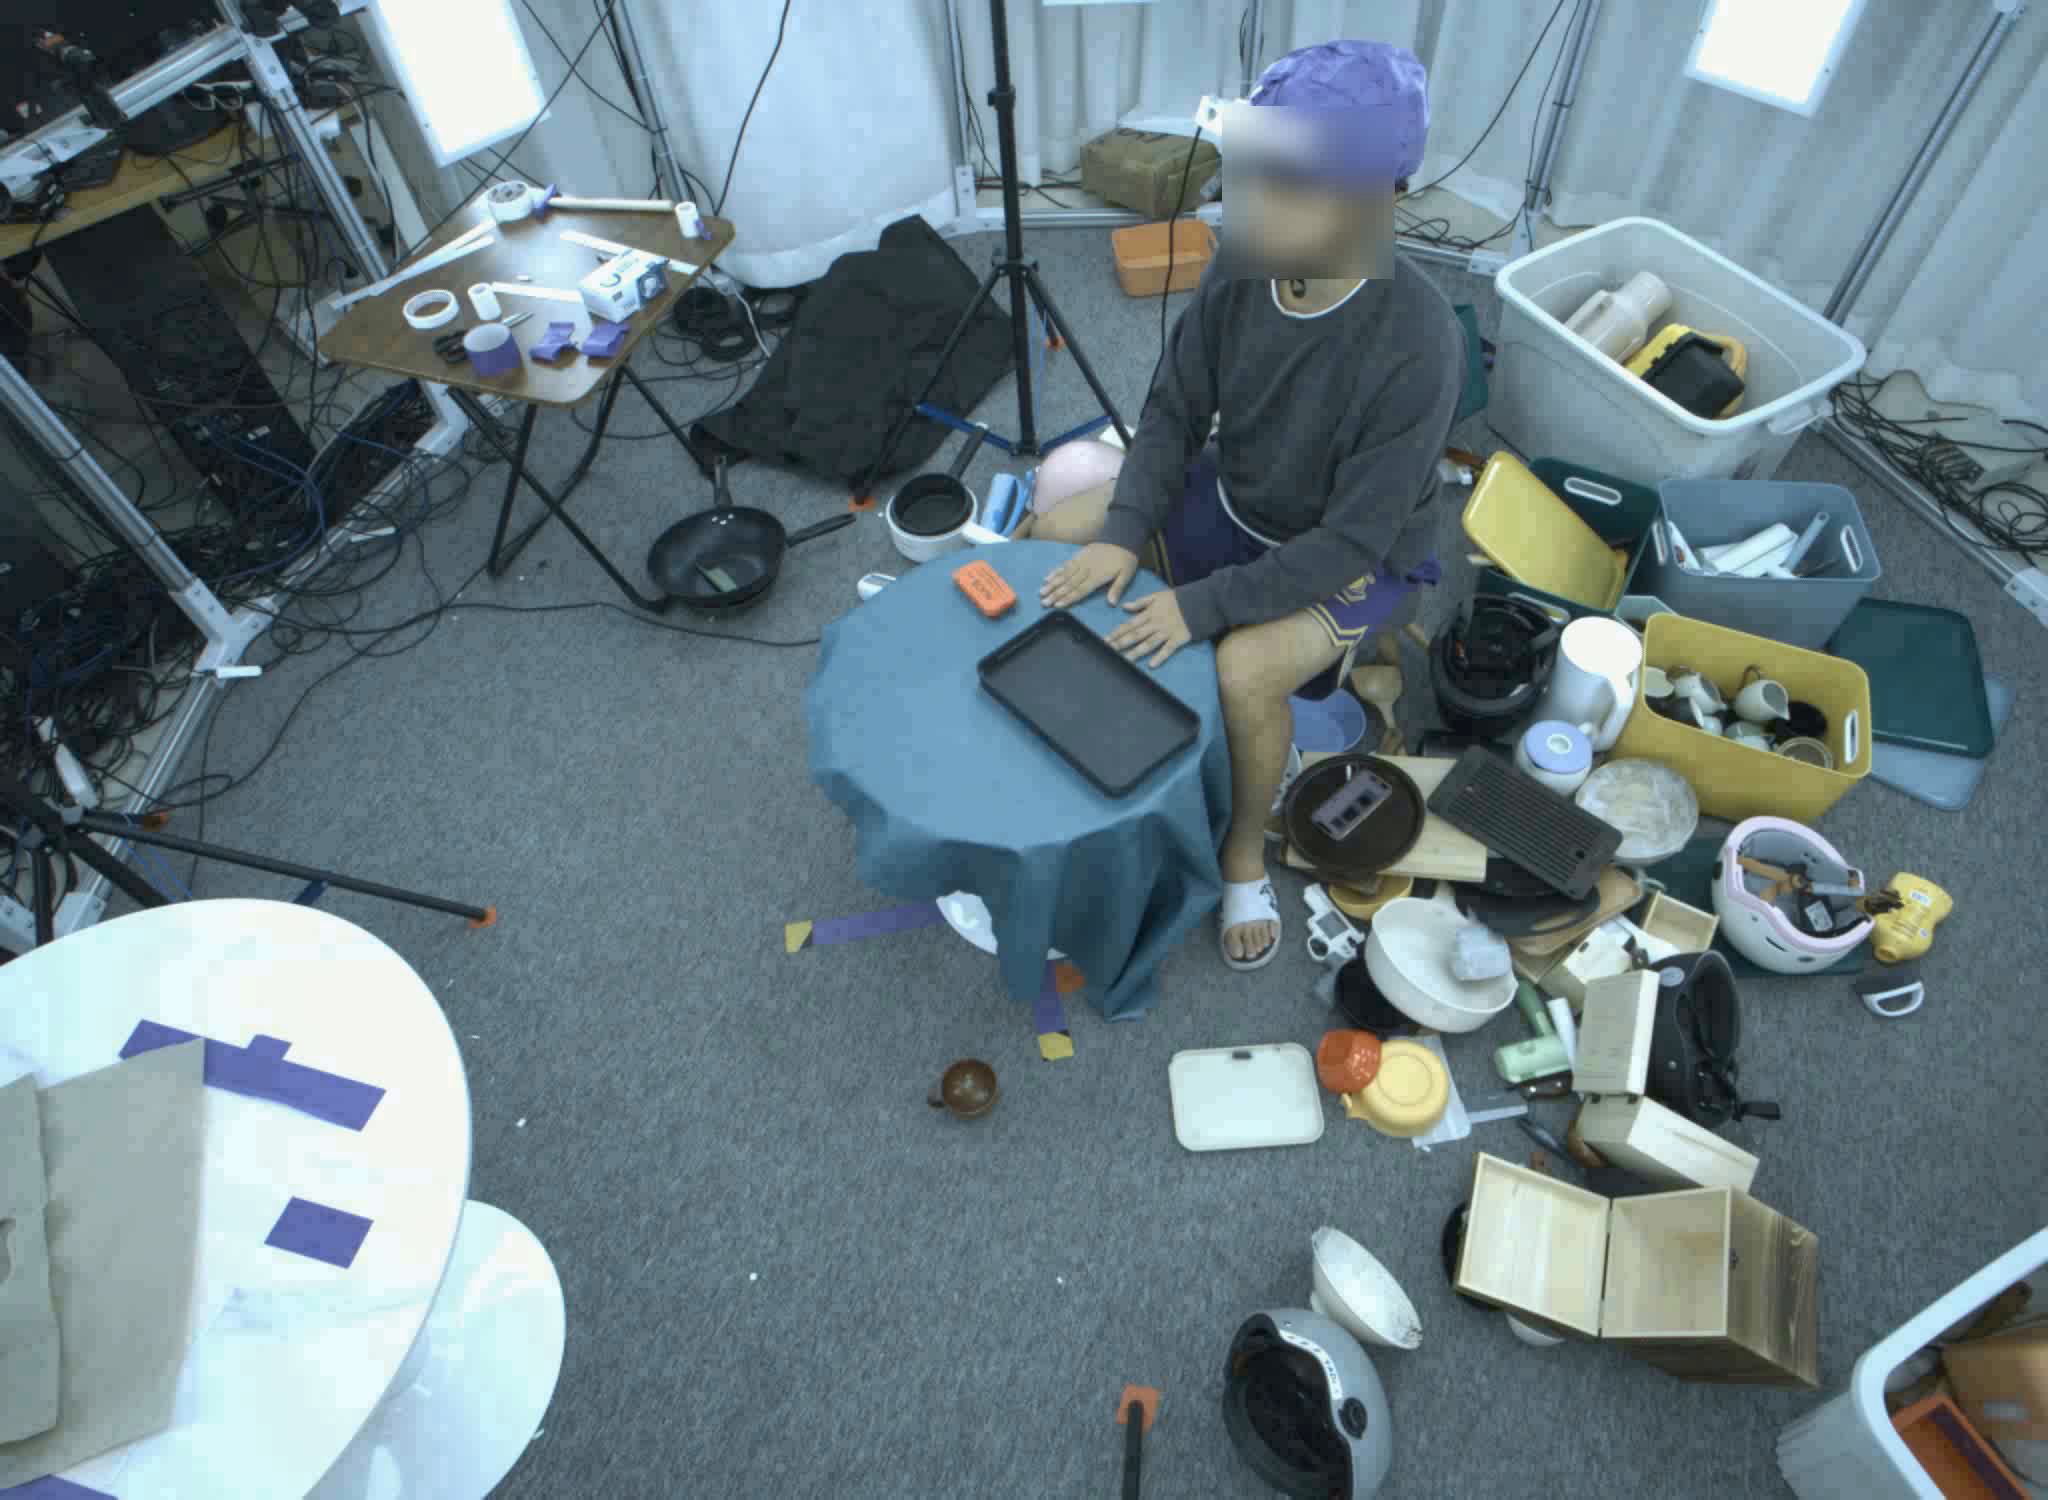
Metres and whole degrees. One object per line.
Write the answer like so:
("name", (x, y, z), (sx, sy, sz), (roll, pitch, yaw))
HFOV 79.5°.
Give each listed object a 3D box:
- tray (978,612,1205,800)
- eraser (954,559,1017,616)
("tray", (0.096, -0.071, 1.816), (0.185, 0.037, 0.312), (-38, 61, -23))
("eraser", (-0.063, -0.260, 1.958), (0.059, 0.023, 0.106), (-27, 57, -23))
